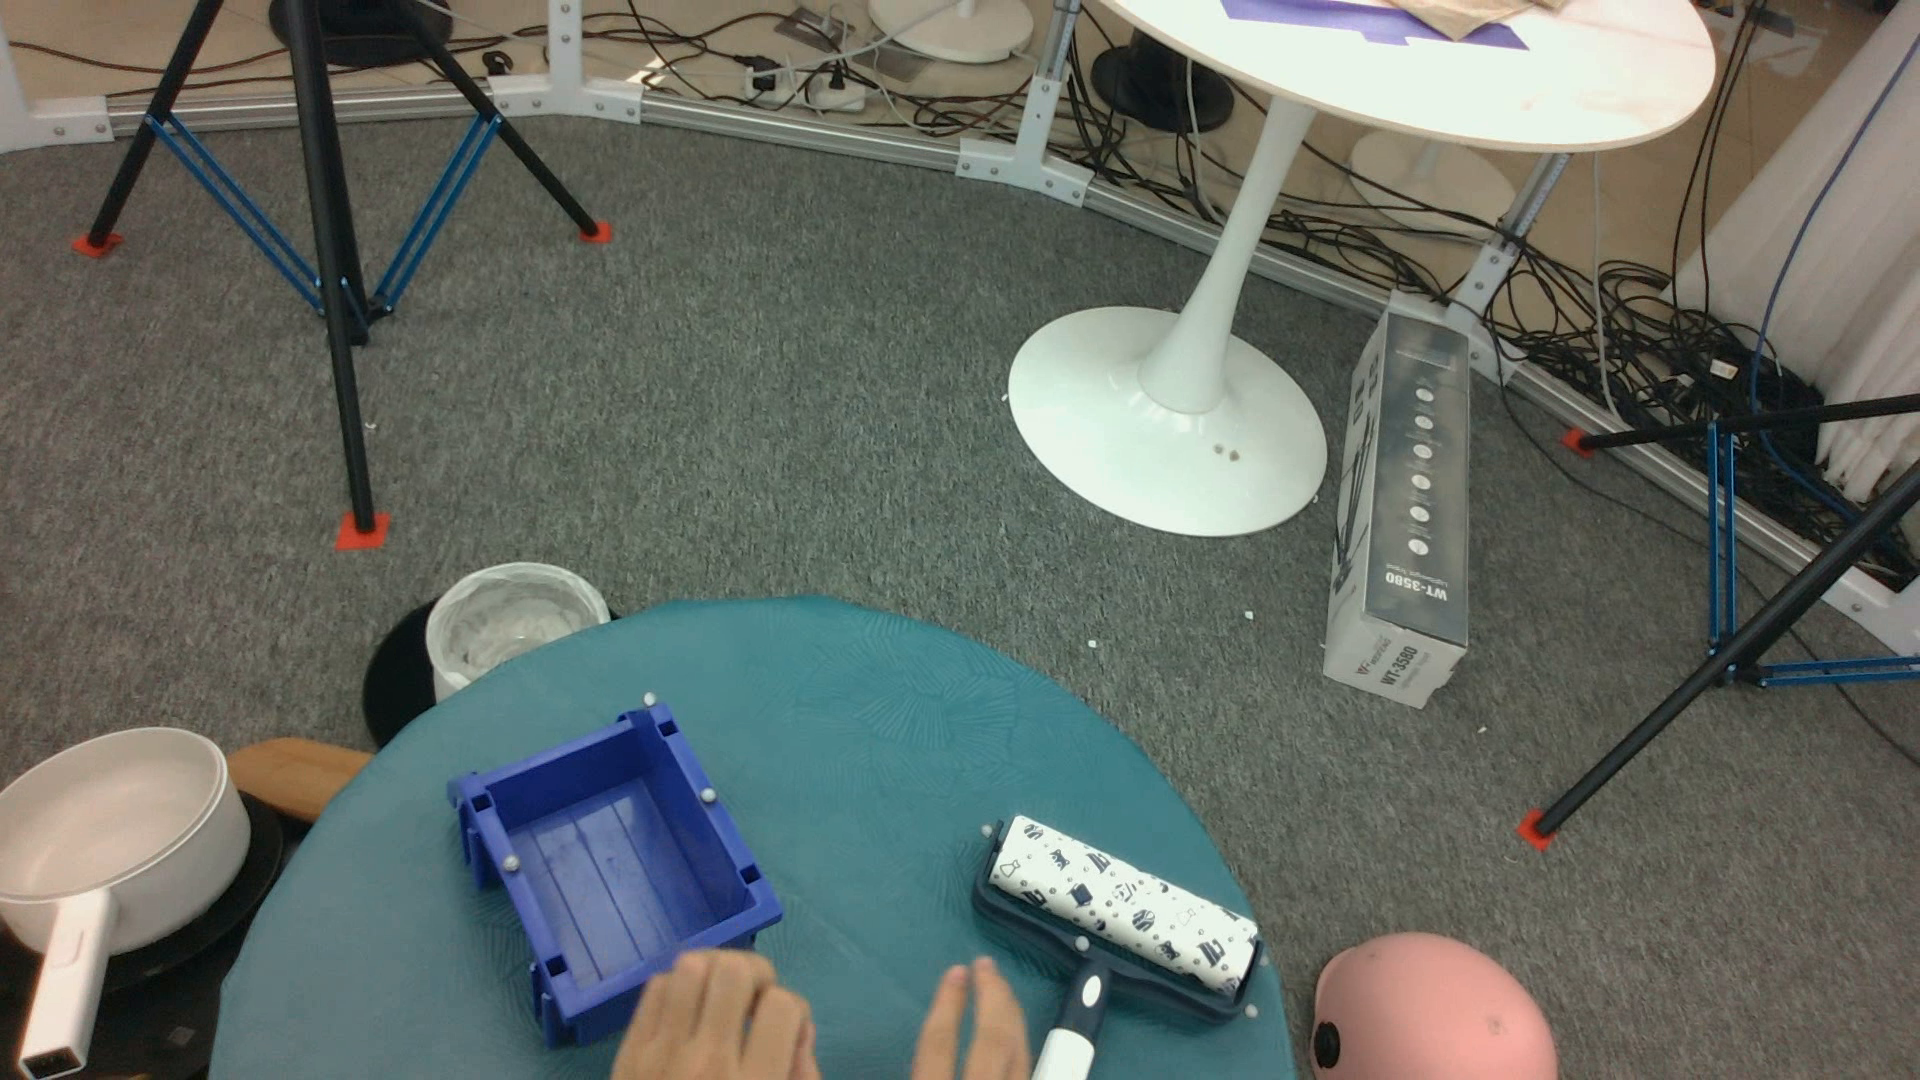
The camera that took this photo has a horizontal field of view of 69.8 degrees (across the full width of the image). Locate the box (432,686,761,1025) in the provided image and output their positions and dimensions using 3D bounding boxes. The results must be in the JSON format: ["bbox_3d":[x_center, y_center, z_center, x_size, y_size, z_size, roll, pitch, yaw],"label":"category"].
[{"bbox_3d":[-0.211,0.171,0.778,0.125,0.081,0.179,-20,59,-29],"label":"box"}]

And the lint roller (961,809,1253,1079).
[{"bbox_3d":[0.057,0.285,0.775,0.176,0.050,0.248,23,49,5],"label":"lint roller"}]
